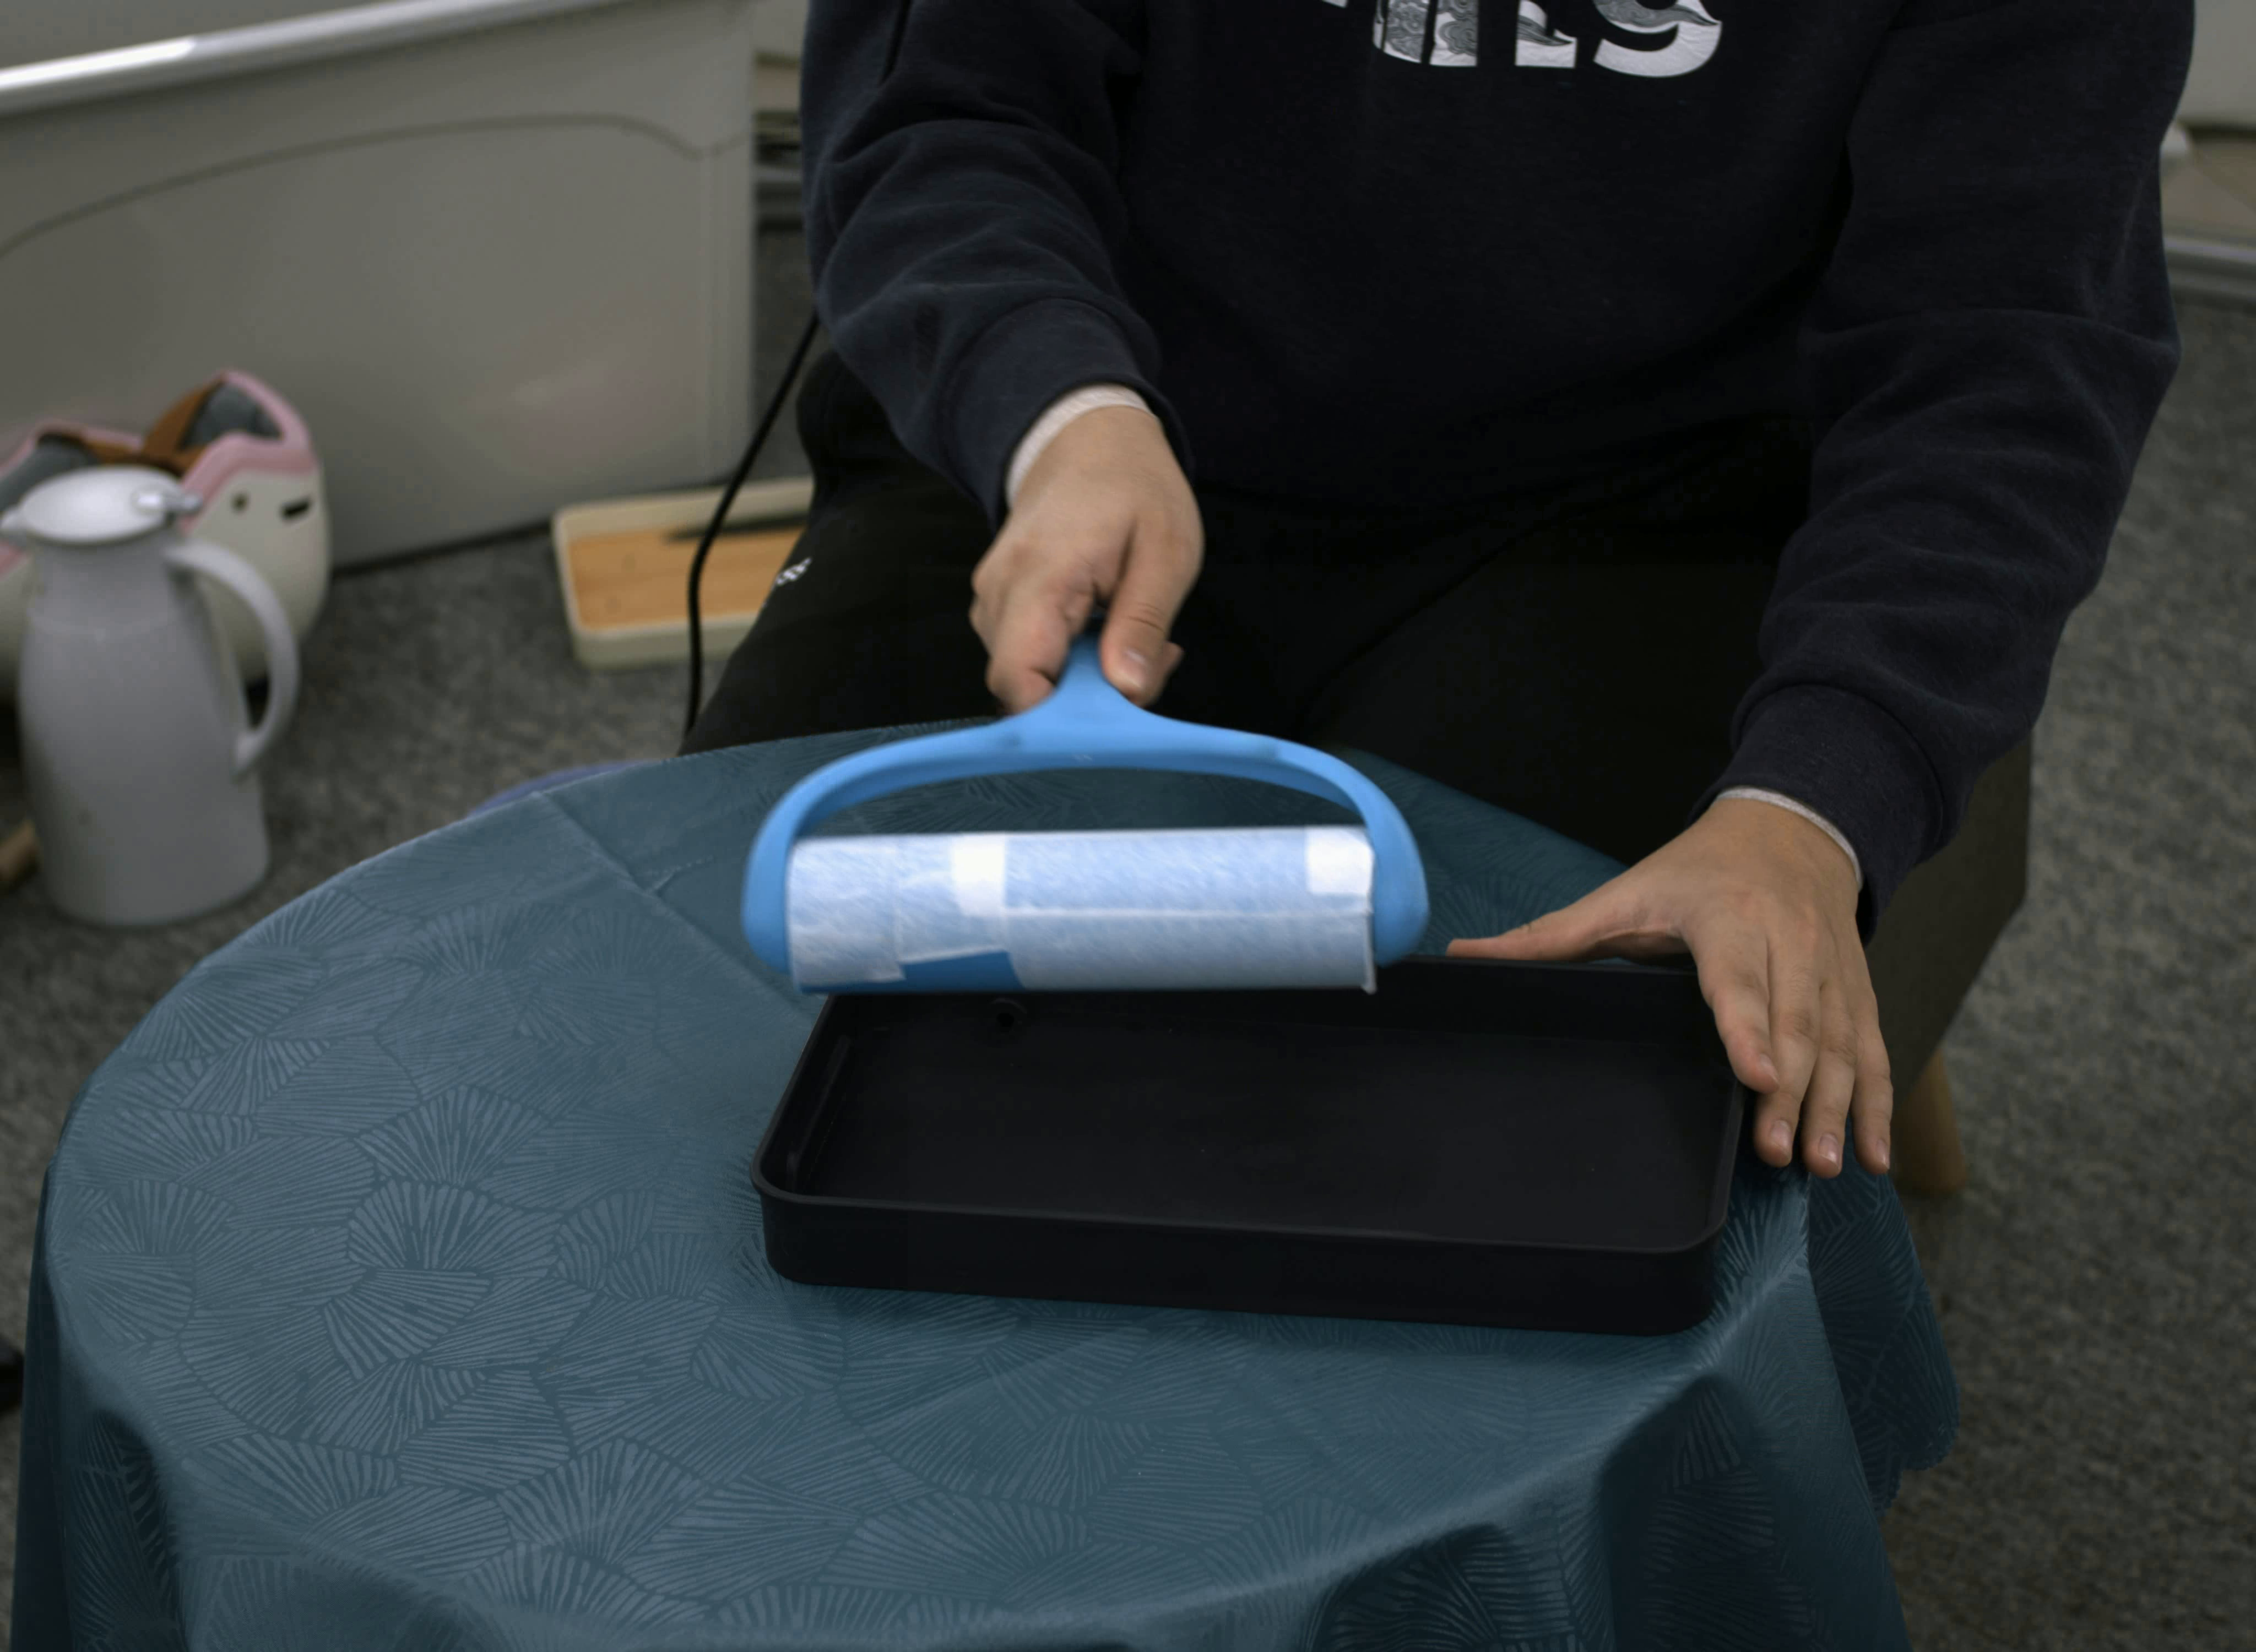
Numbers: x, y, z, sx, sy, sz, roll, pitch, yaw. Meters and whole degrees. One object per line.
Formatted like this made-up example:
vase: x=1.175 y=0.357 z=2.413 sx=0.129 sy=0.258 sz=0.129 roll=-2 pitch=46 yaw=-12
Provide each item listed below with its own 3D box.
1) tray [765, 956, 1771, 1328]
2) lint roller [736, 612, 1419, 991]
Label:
tray: x=0.050 y=0.101 z=1.867 sx=0.316 sy=0.036 sz=0.187 roll=0 pitch=27 yaw=11
lint roller: x=-0.017 y=-0.021 z=1.909 sx=0.227 sy=0.067 sz=0.184 roll=-4 pitch=49 yaw=4
